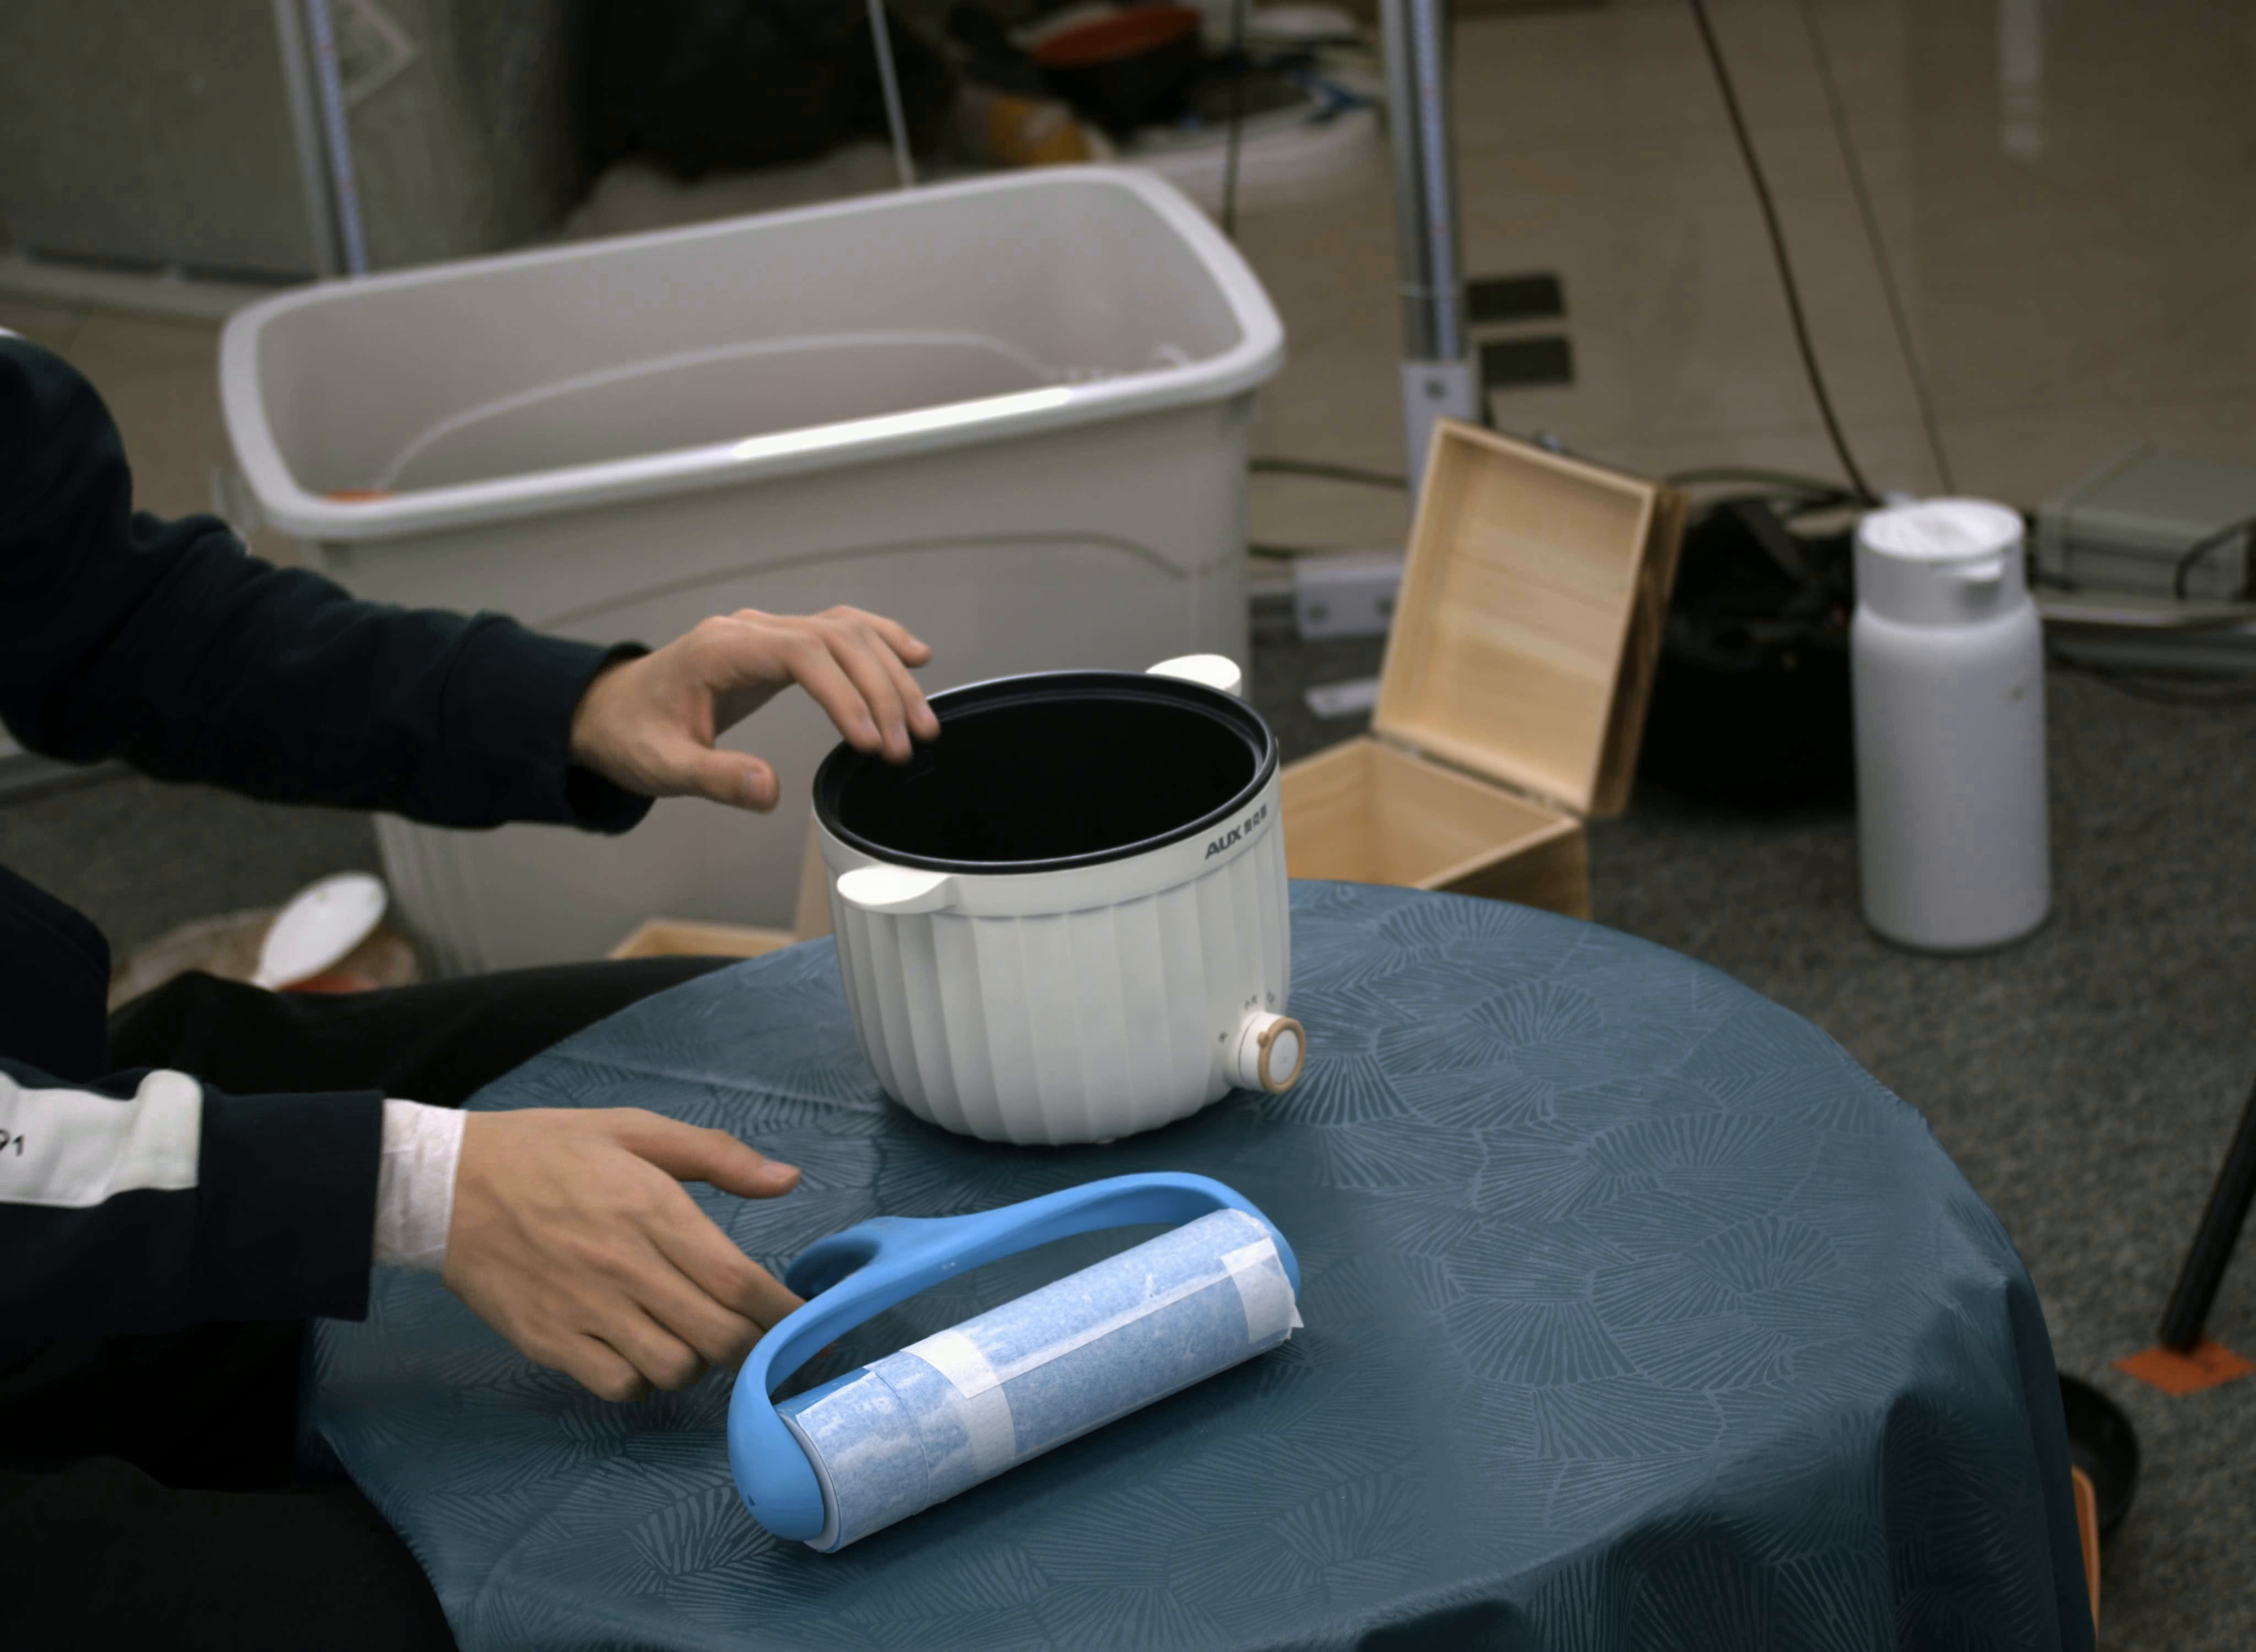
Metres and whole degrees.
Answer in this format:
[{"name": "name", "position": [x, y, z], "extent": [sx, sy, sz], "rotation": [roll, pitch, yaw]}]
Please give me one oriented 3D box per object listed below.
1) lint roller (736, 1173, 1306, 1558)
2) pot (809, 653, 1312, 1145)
[{"name": "lint roller", "position": [-0.070, 0.173, 2.019], "extent": [0.227, 0.069, 0.178], "rotation": [-25, 33, -30]}, {"name": "pot", "position": [-0.020, 0.036, 2.203], "extent": [0.189, 0.145, 0.237], "rotation": [8, 30, 34]}]
